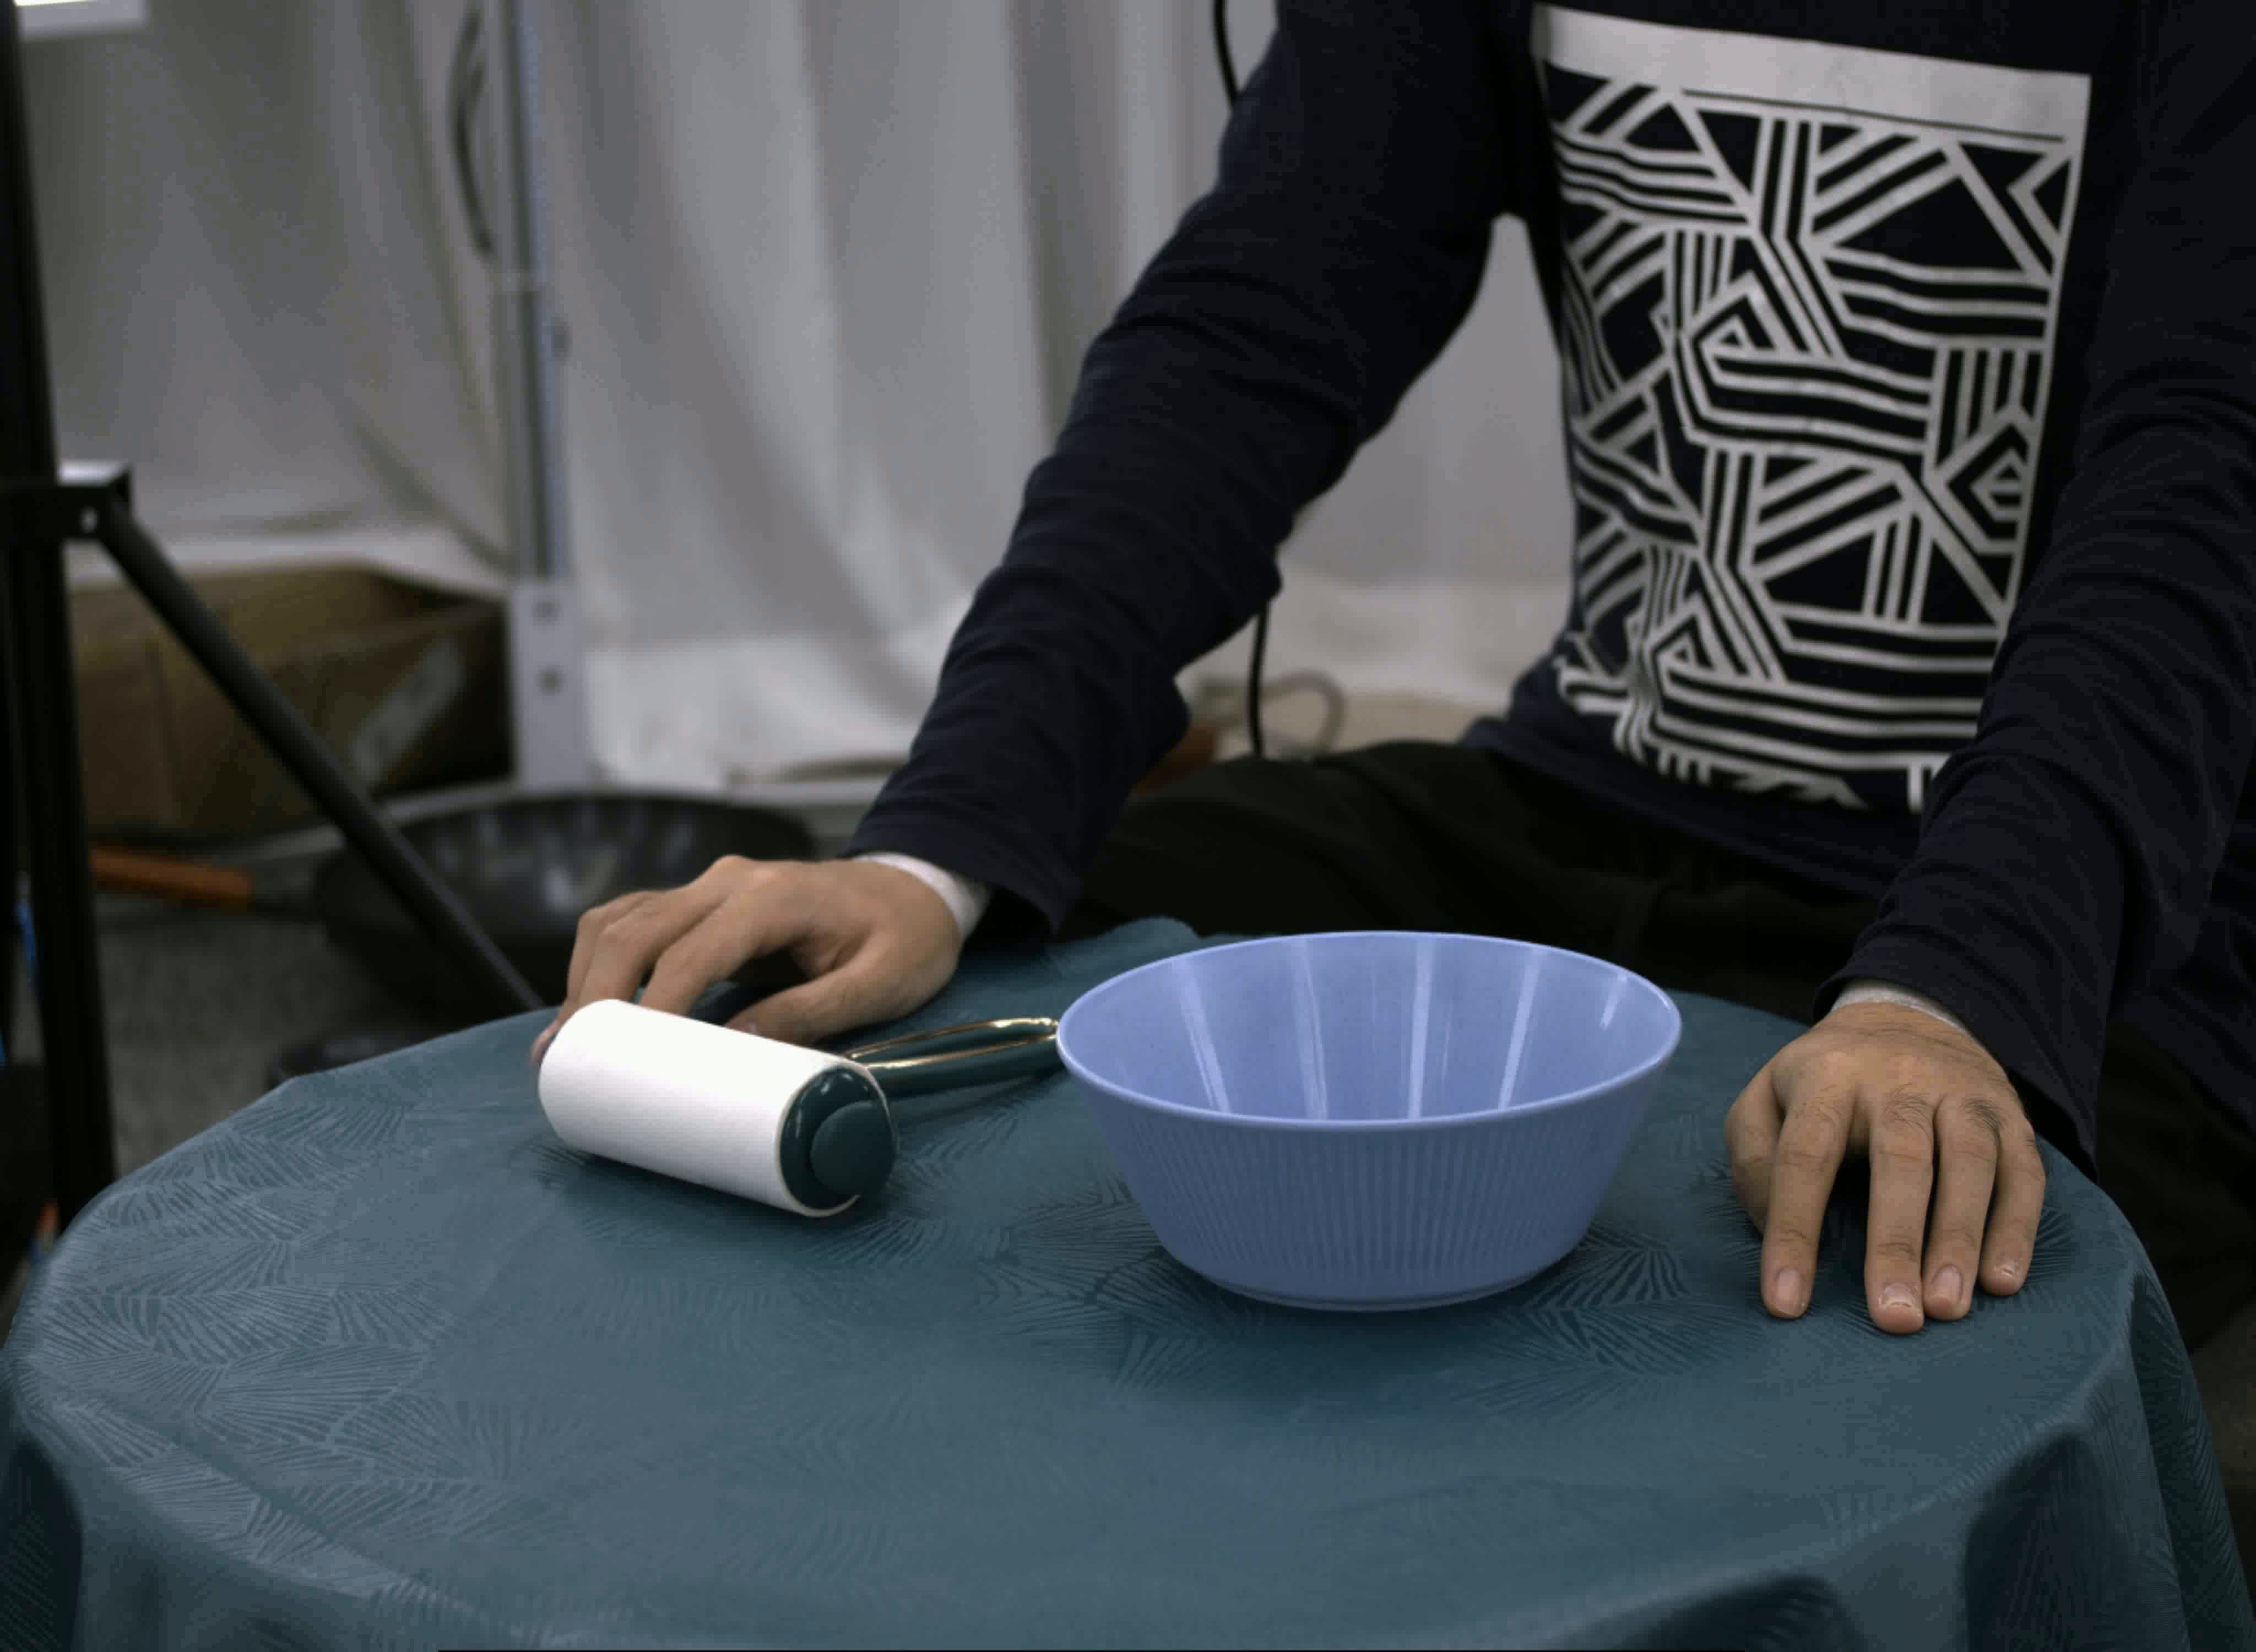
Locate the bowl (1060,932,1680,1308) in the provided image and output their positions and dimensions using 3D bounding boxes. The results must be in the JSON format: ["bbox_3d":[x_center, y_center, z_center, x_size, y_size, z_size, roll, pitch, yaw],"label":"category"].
[{"bbox_3d":[0.069,0.086,1.498,0.175,0.070,0.177,-3,15,-1],"label":"bowl"}]

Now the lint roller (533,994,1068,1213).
[{"bbox_3d":[-0.080,0.072,1.630,0.137,0.048,0.176,12,17,41],"label":"lint roller"}]
